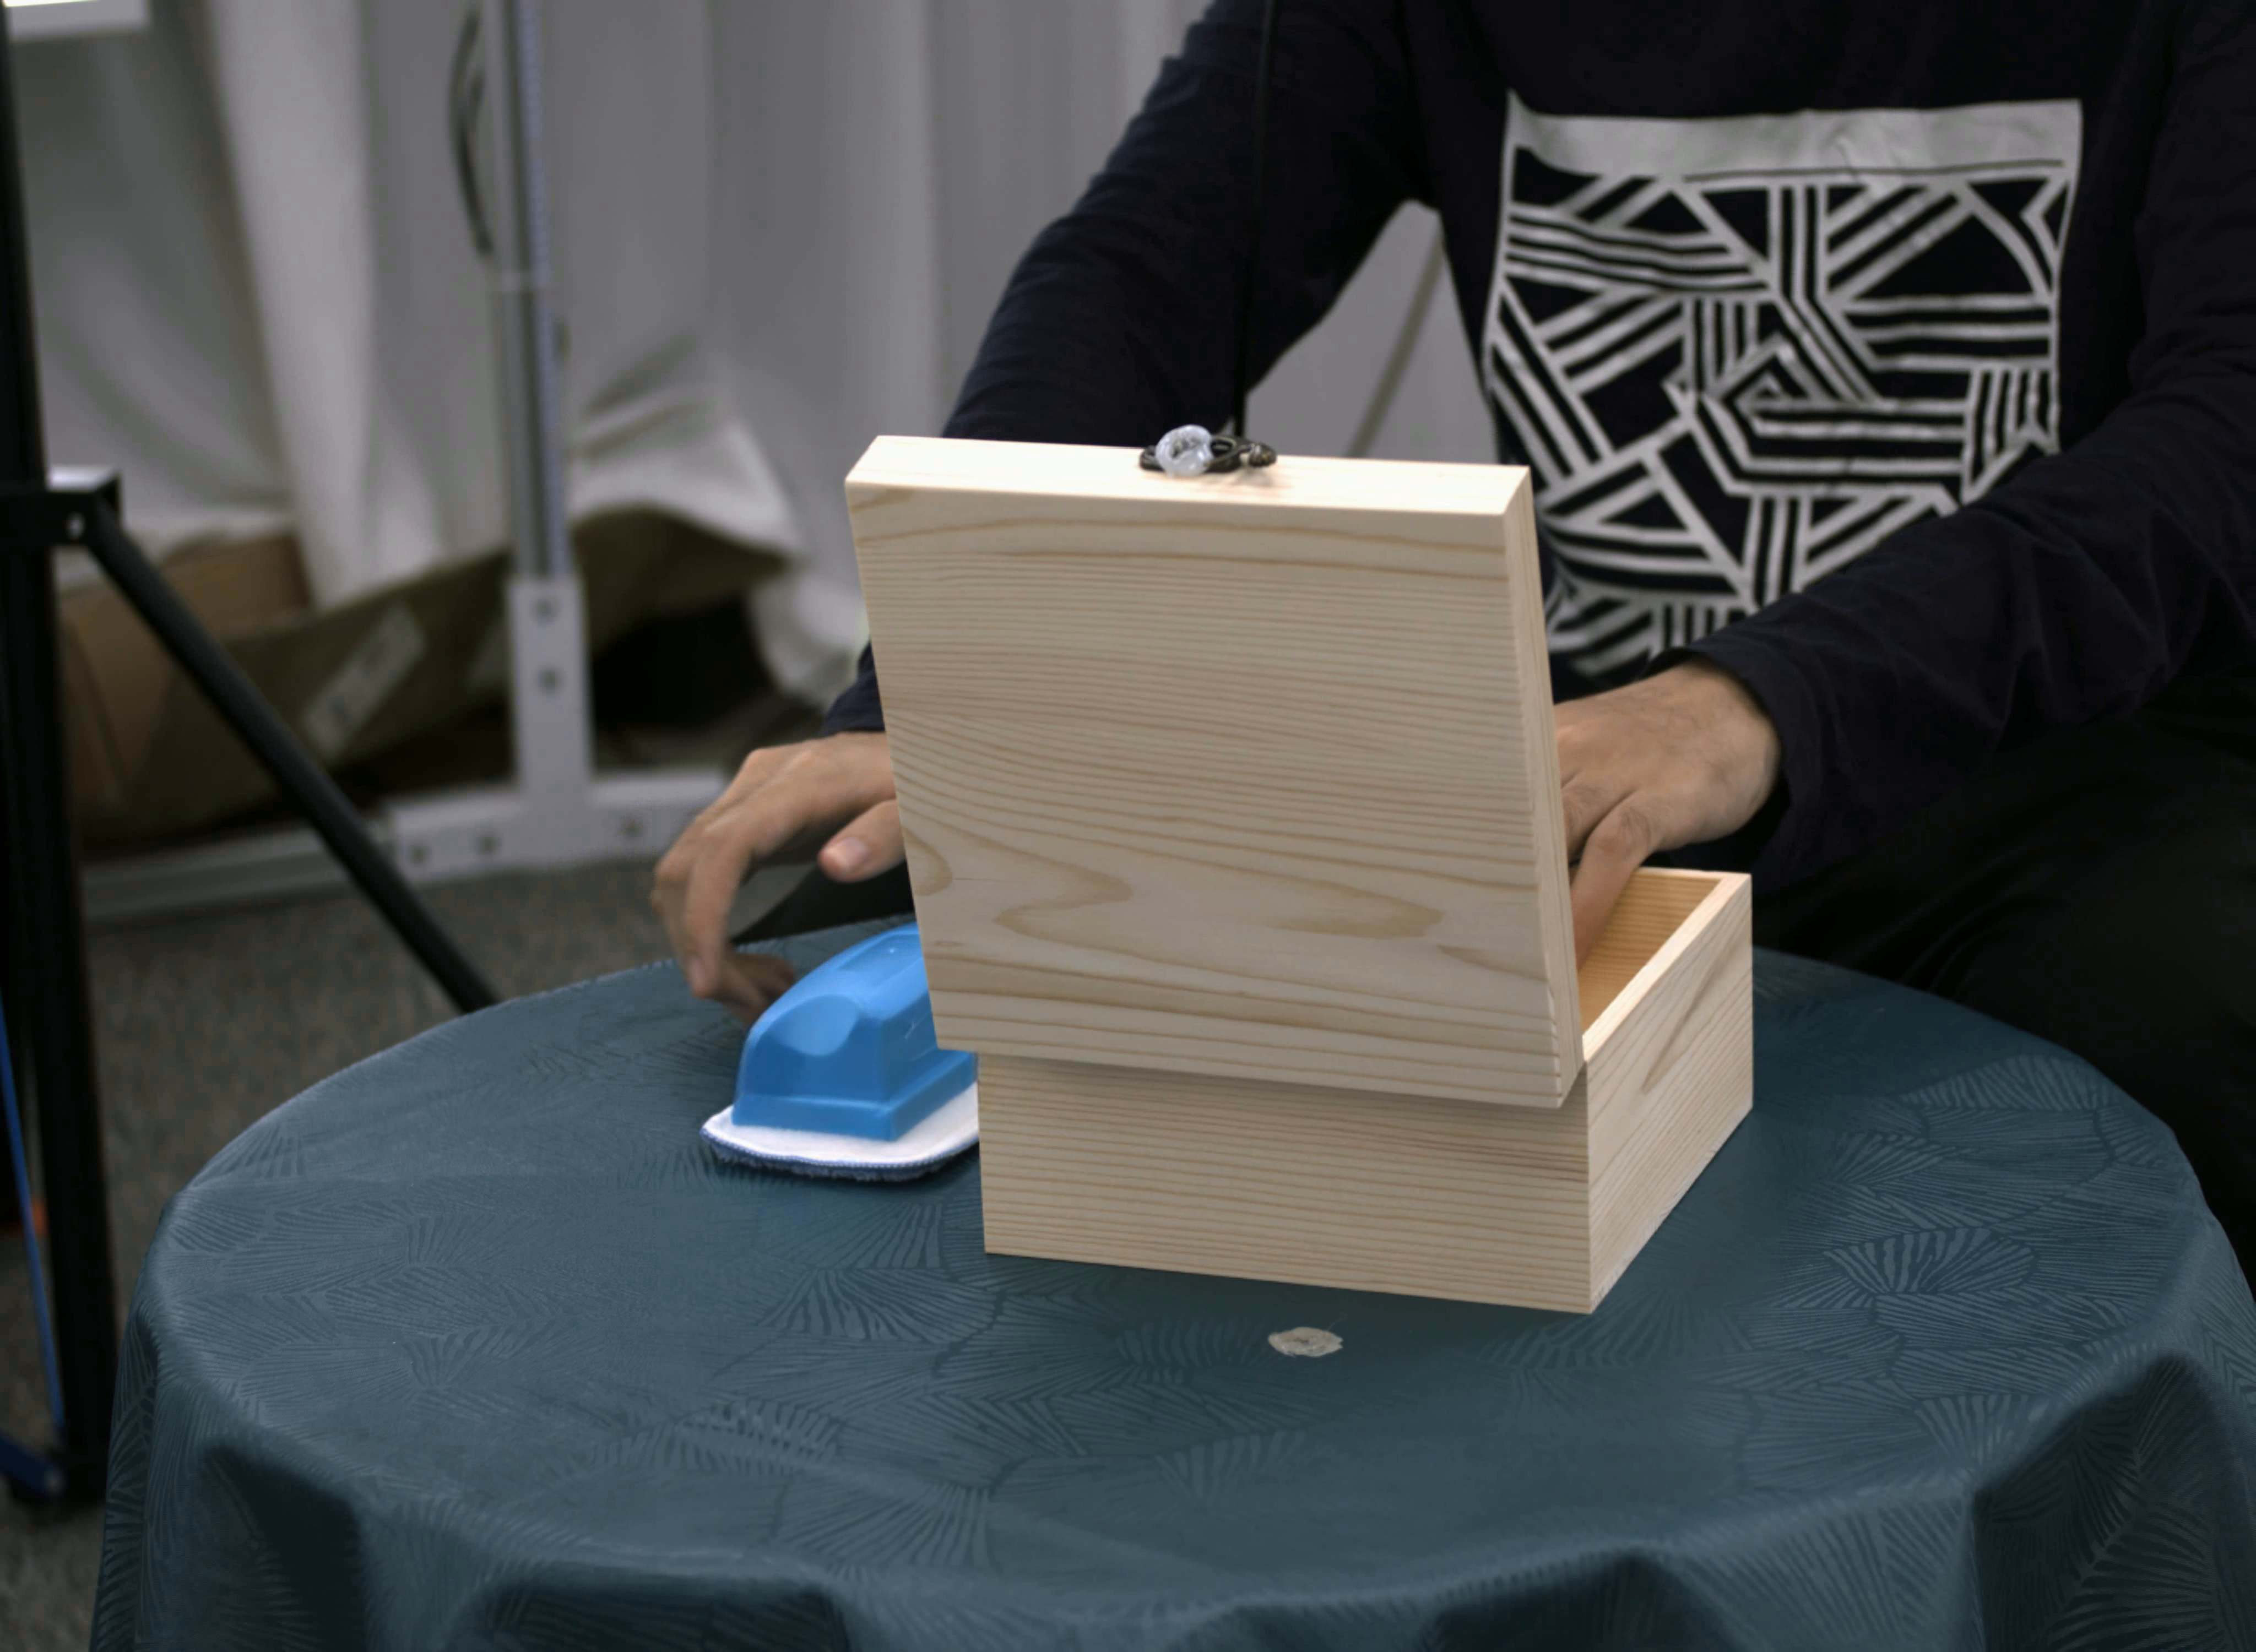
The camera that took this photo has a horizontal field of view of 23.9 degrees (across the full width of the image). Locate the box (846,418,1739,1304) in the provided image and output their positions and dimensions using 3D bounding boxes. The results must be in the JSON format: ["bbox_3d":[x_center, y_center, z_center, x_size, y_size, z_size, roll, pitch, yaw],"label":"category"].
[{"bbox_3d":[0.057,-0.010,1.501,0.184,0.253,0.262,3,16,20],"label":"box"}]

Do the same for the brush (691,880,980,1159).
[{"bbox_3d":[-0.071,0.056,1.644,0.085,0.056,0.142,9,21,24],"label":"brush"}]
